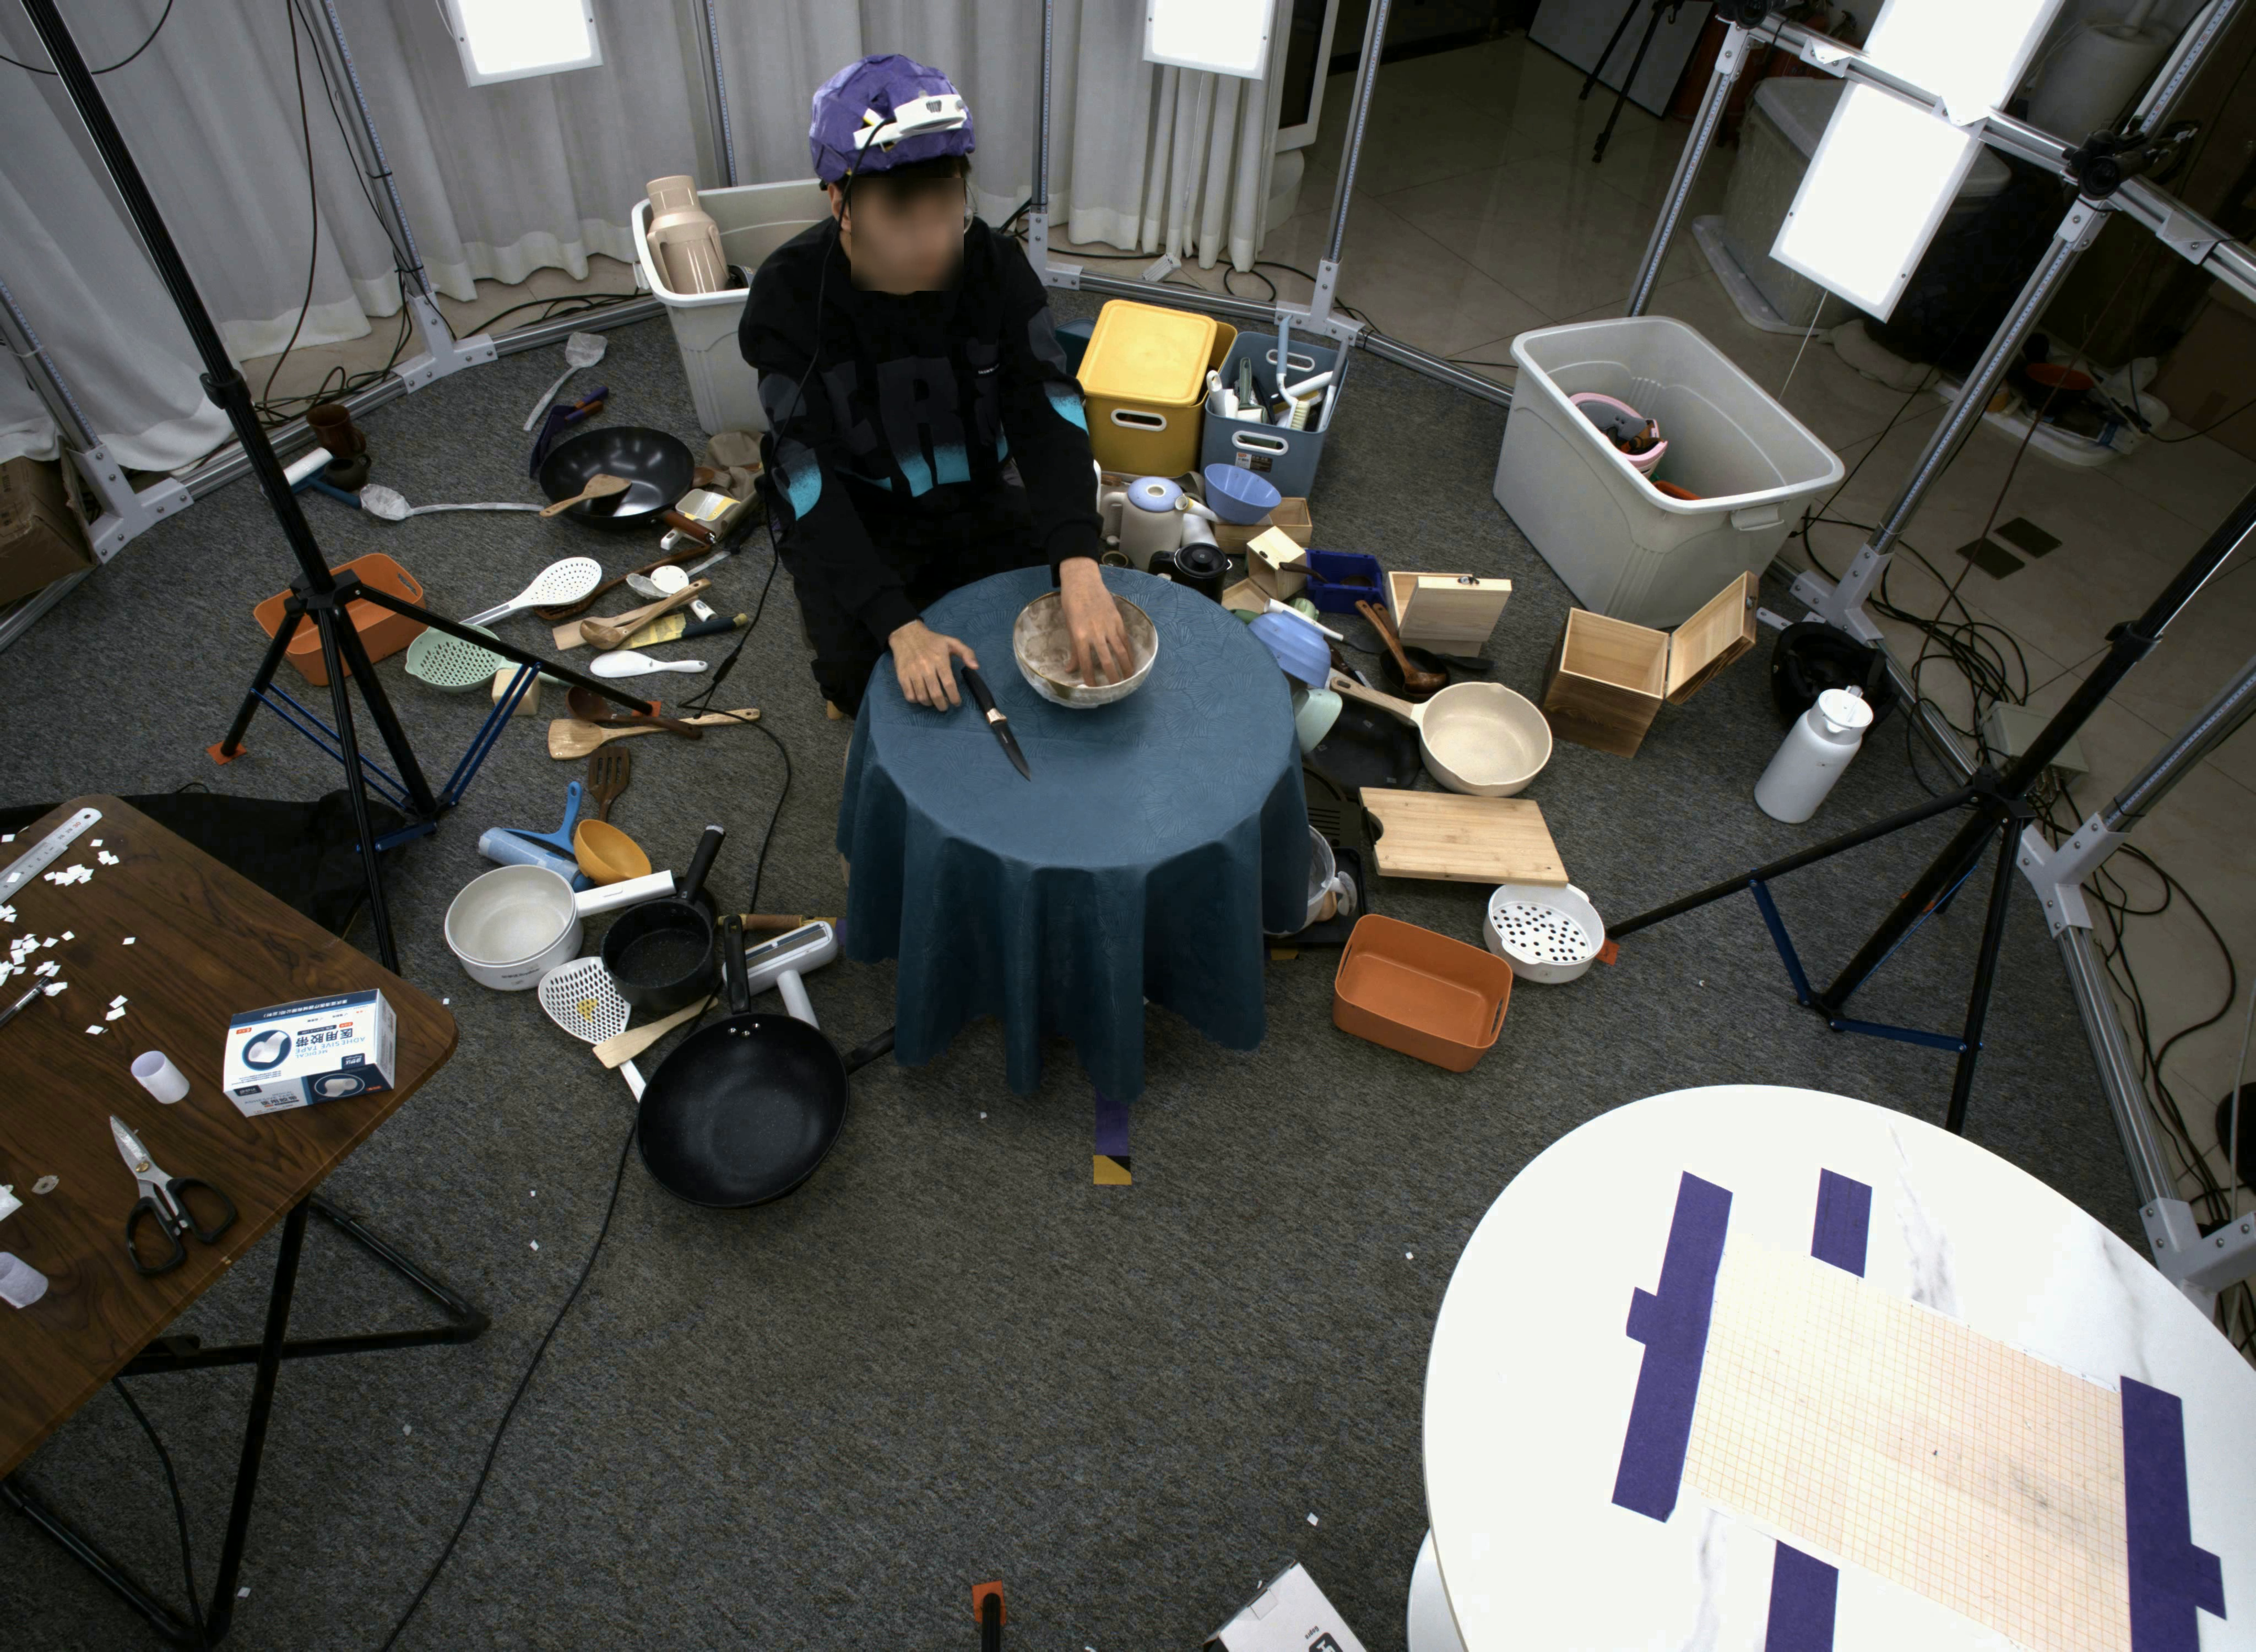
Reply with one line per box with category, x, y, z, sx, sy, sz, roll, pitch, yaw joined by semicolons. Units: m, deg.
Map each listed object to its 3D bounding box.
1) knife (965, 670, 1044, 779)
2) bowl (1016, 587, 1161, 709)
knife;-0.172;-0.141;1.773;0.026;0.017;0.230;-16;53;-25
bowl;-0.058;-0.238;1.810;0.214;0.092;0.220;2;50;-2
